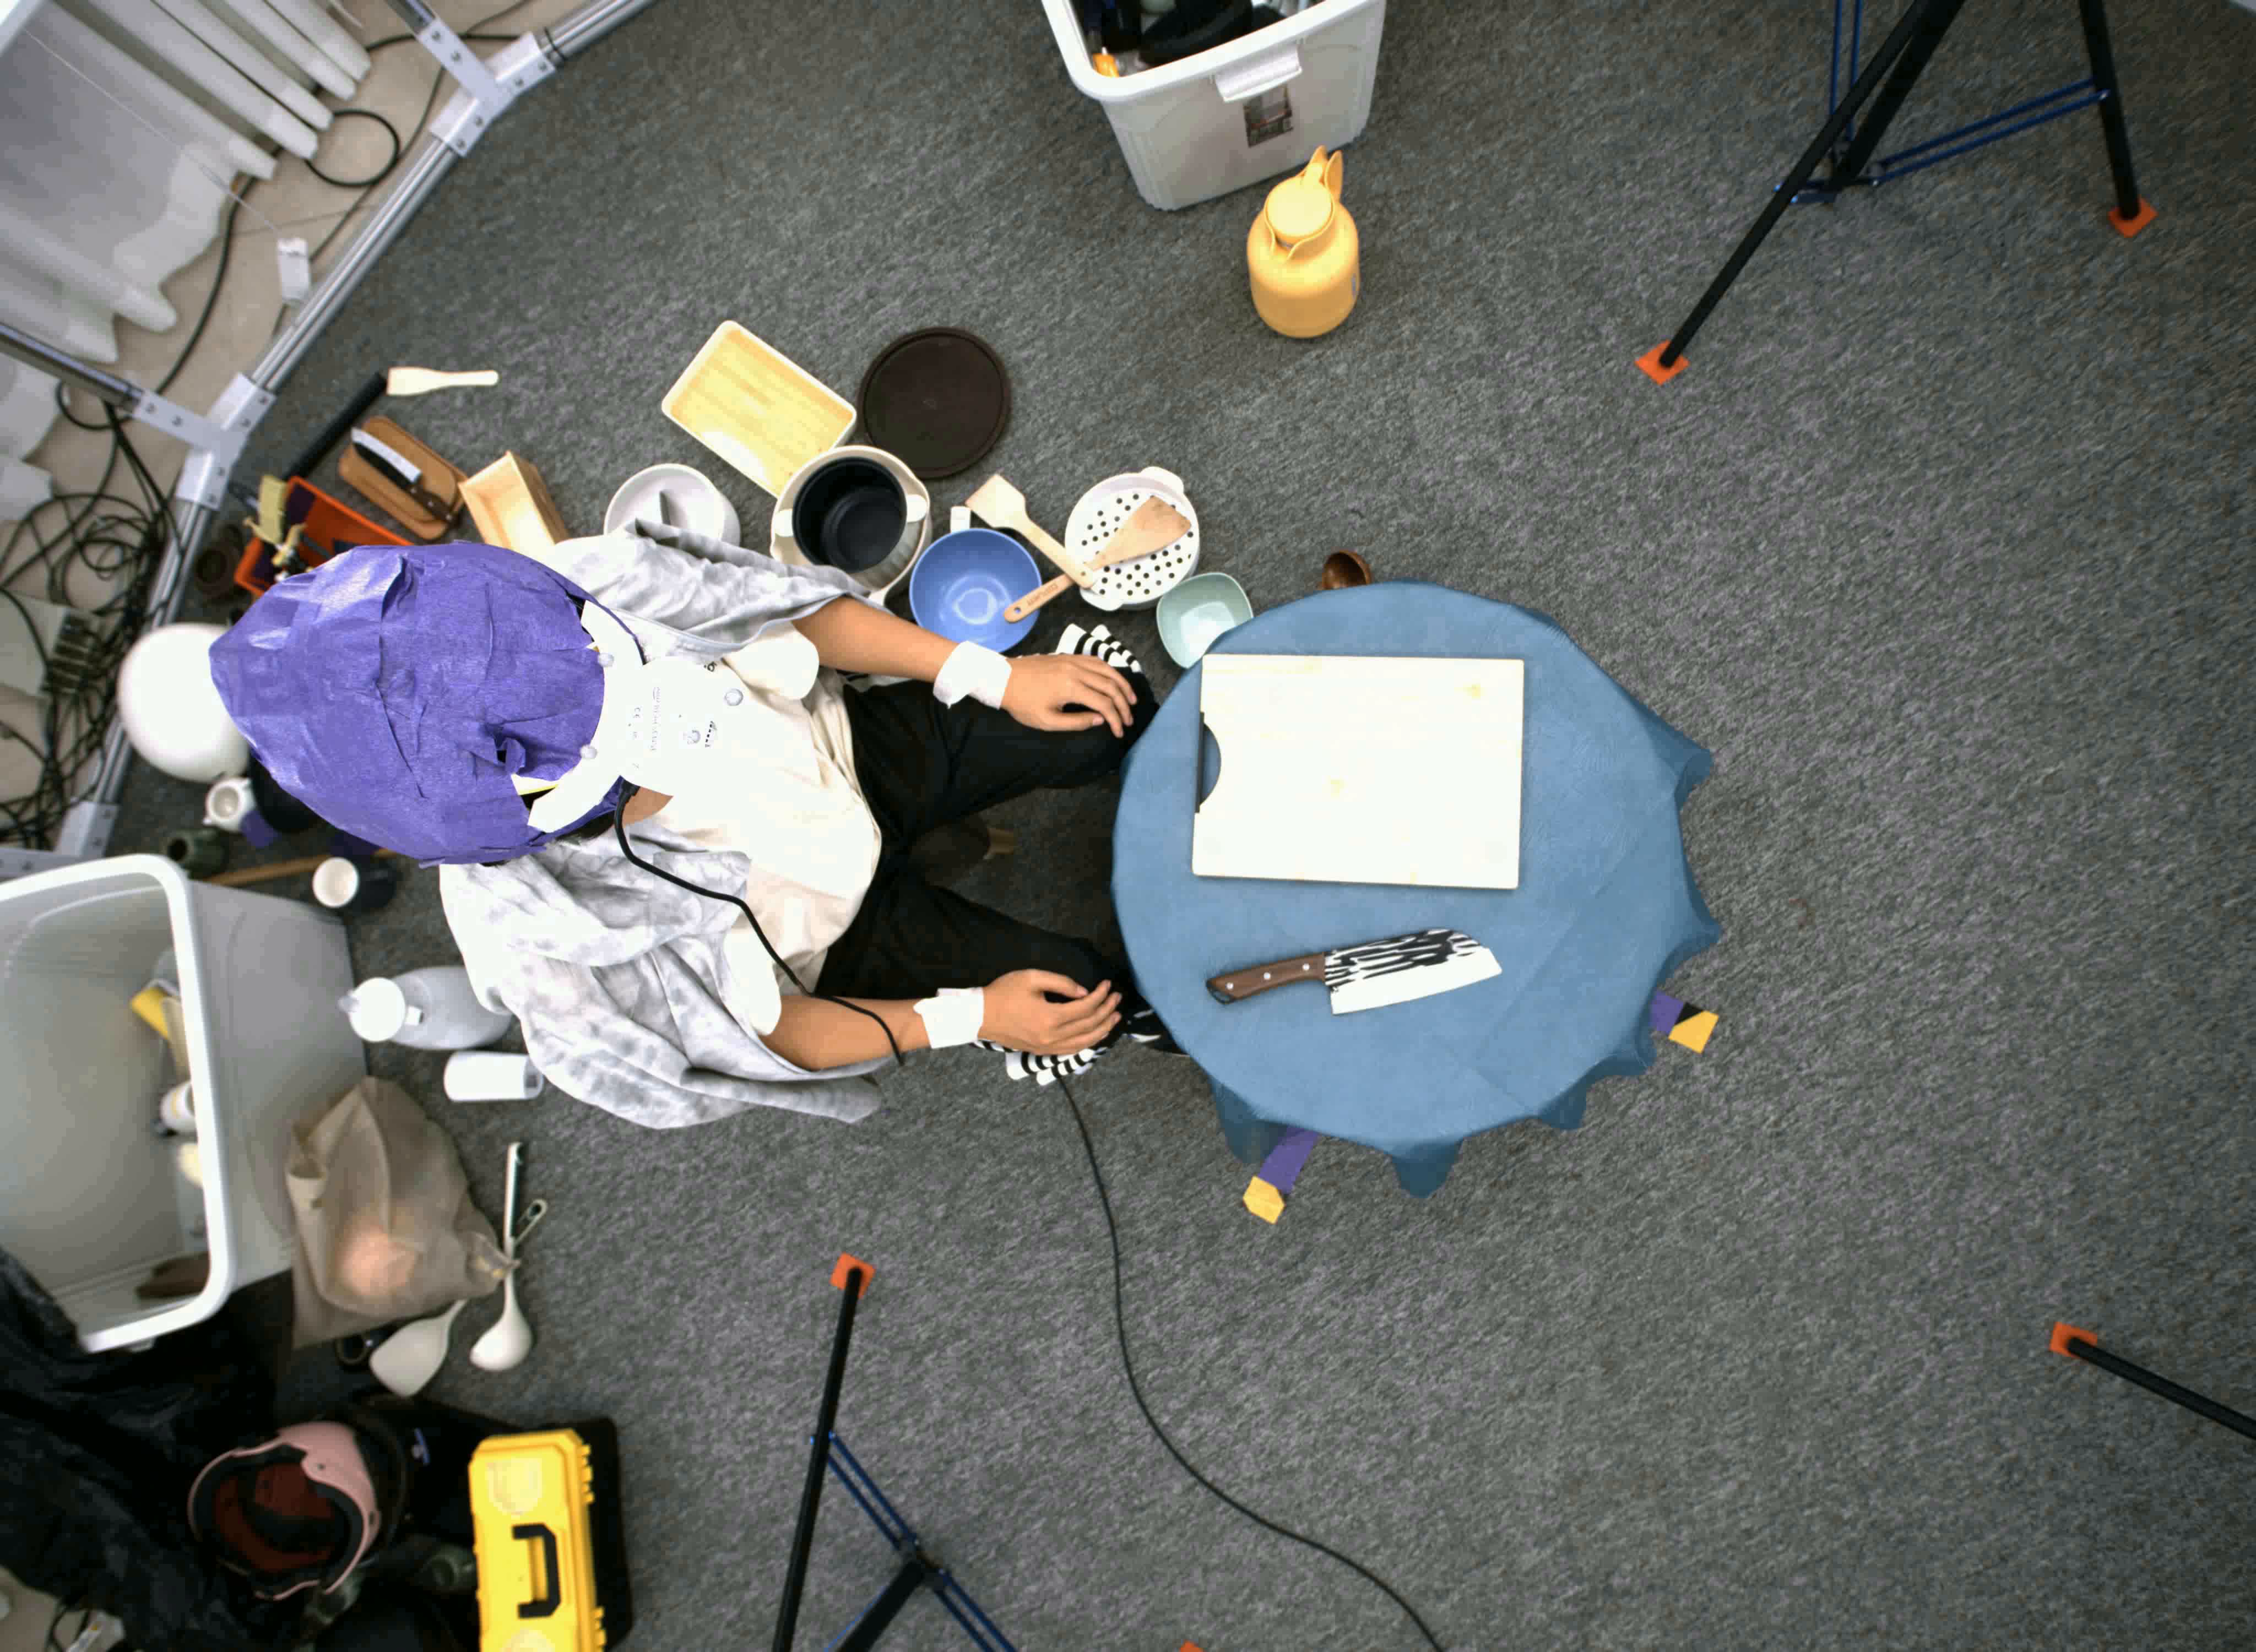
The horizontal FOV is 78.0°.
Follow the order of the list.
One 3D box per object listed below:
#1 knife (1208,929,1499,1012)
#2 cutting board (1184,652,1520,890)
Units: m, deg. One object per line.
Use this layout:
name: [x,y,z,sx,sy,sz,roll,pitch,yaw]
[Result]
knife: [0.235,0.156,1.450,0.301,0.024,0.068,-11,87,7]
cutting board: [0.237,-0.063,1.464,0.350,0.023,0.249,1,87,11]
